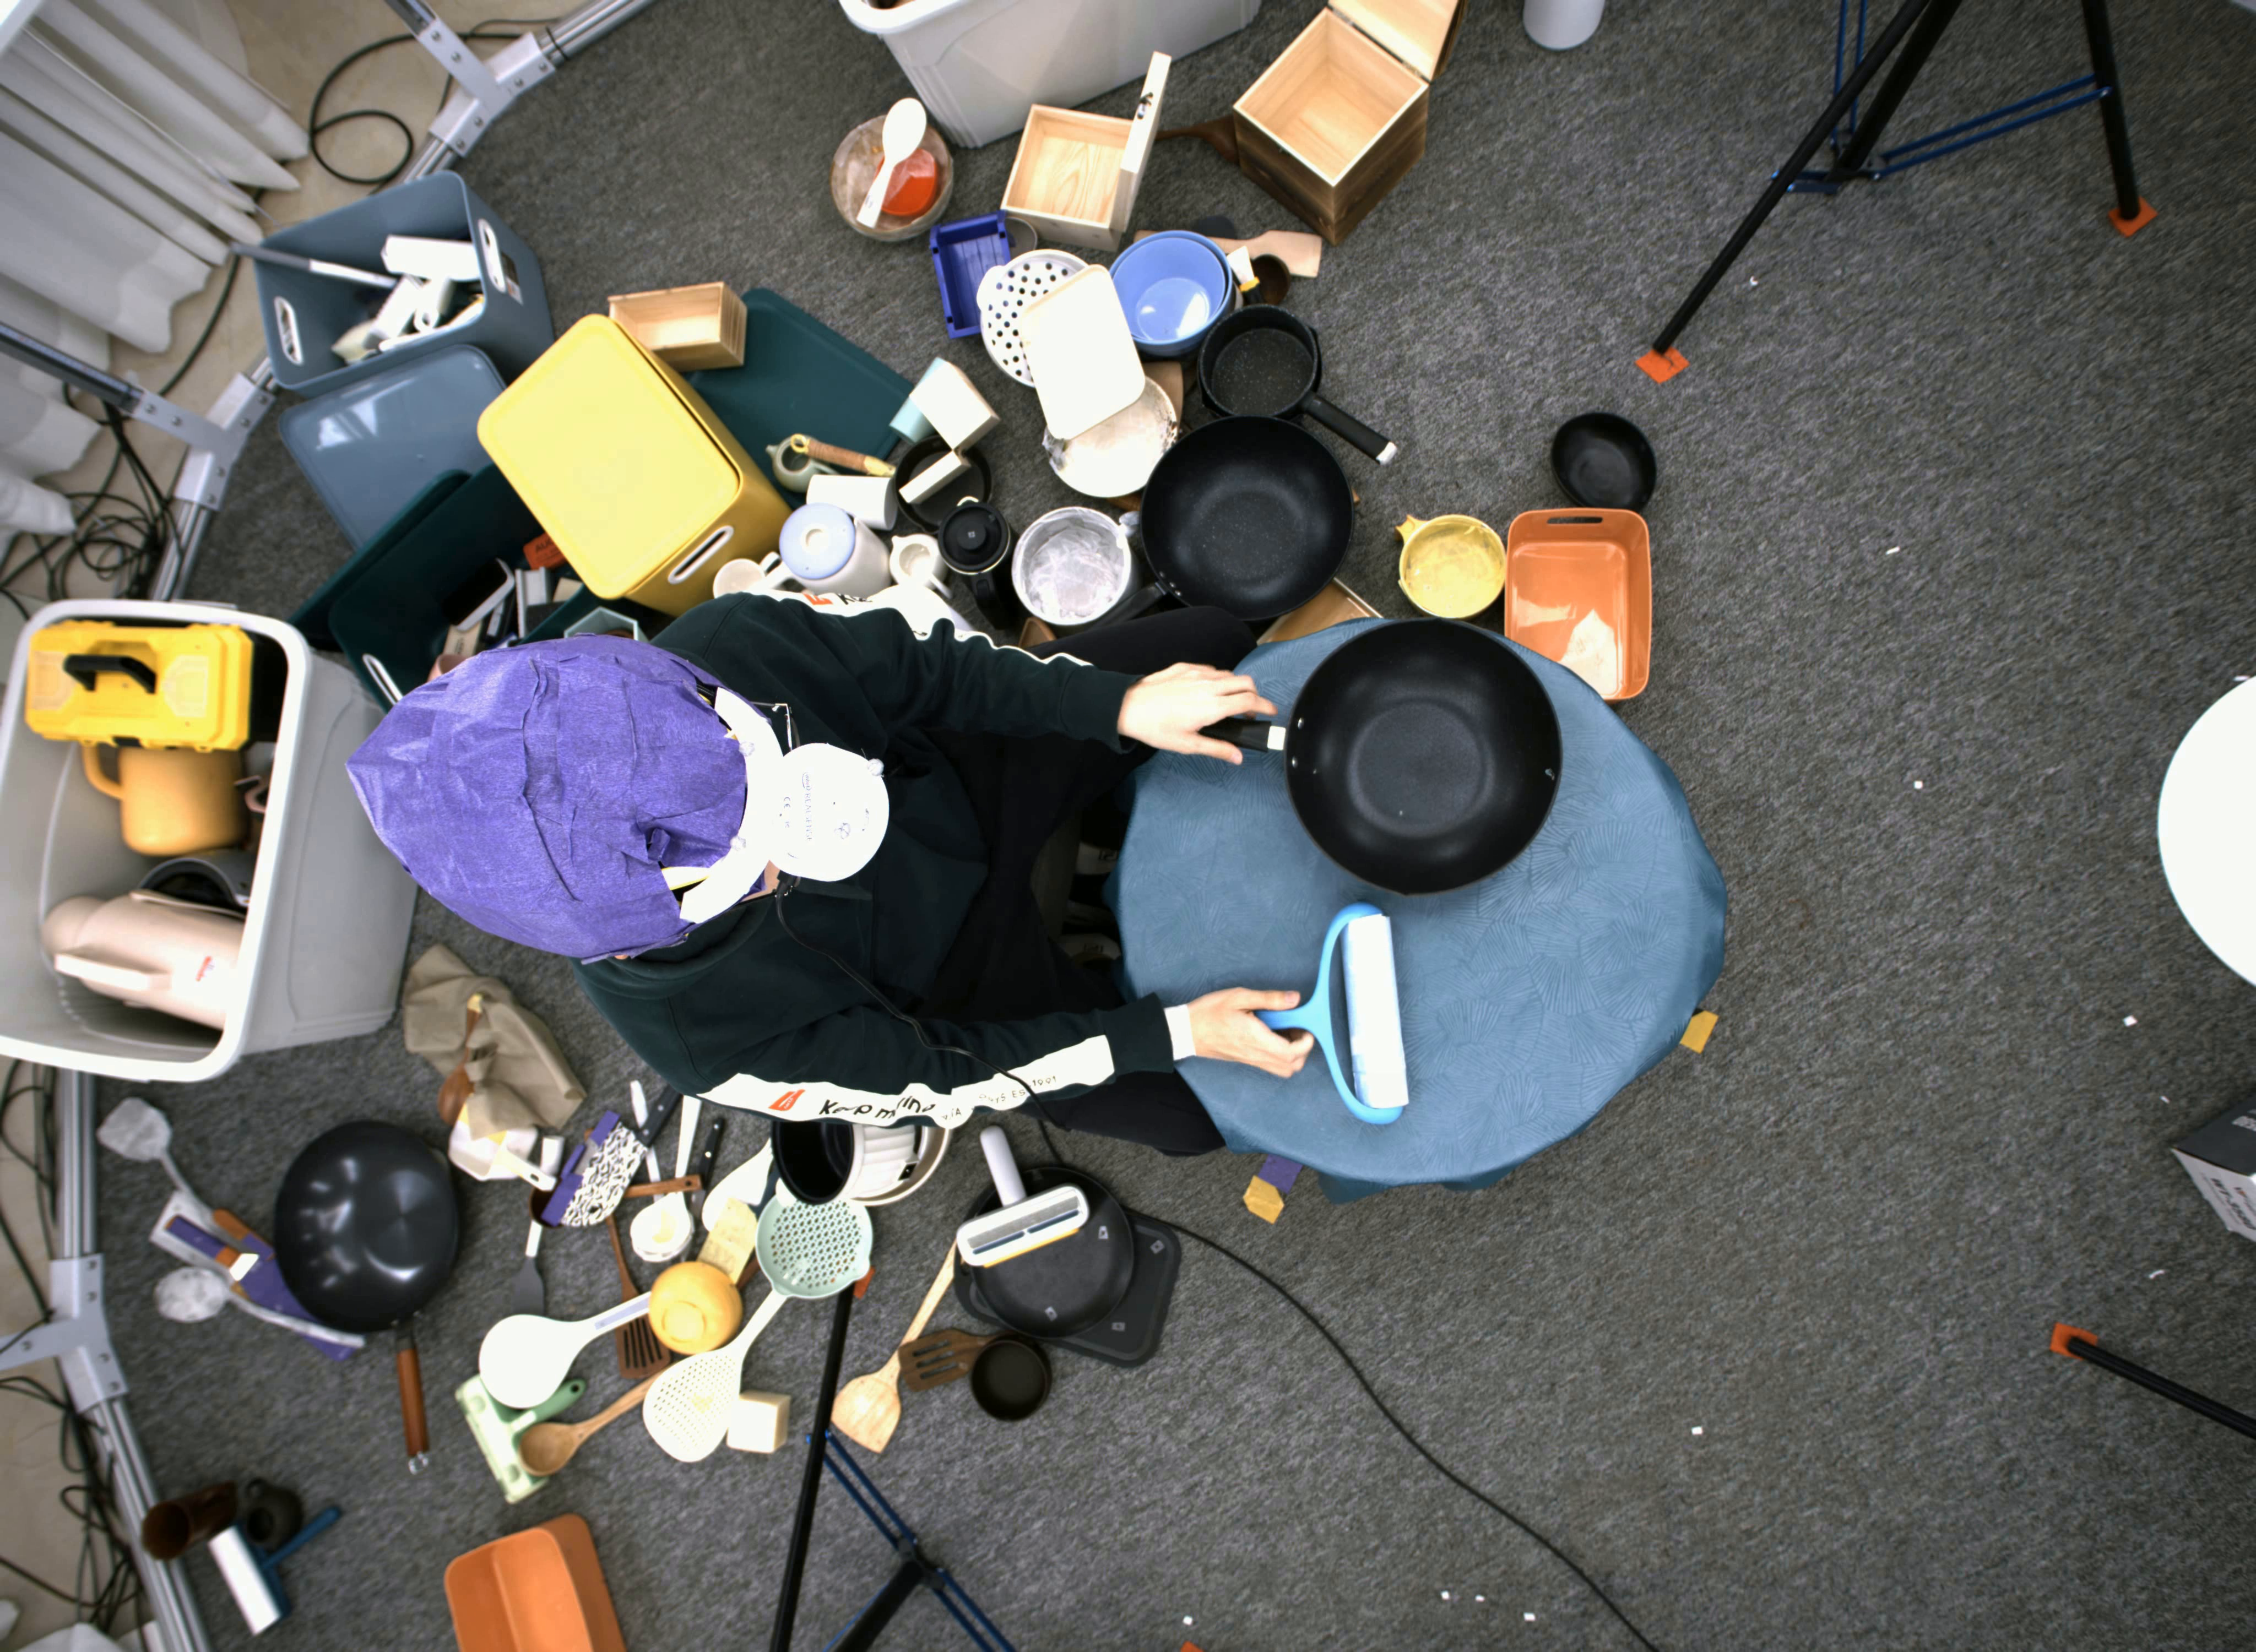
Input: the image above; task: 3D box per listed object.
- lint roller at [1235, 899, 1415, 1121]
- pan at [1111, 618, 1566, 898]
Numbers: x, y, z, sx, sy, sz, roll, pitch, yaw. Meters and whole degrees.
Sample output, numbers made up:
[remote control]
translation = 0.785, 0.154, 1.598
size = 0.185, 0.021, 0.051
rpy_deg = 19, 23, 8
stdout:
[lint roller]
translation = 0.198, 0.197, 1.434
size = 0.181, 0.068, 0.228
rpy_deg = -10, 87, 9
[pan]
translation = 0.213, -0.080, 1.433
size = 0.464, 0.087, 0.287
rpy_deg = 8, 88, 12
